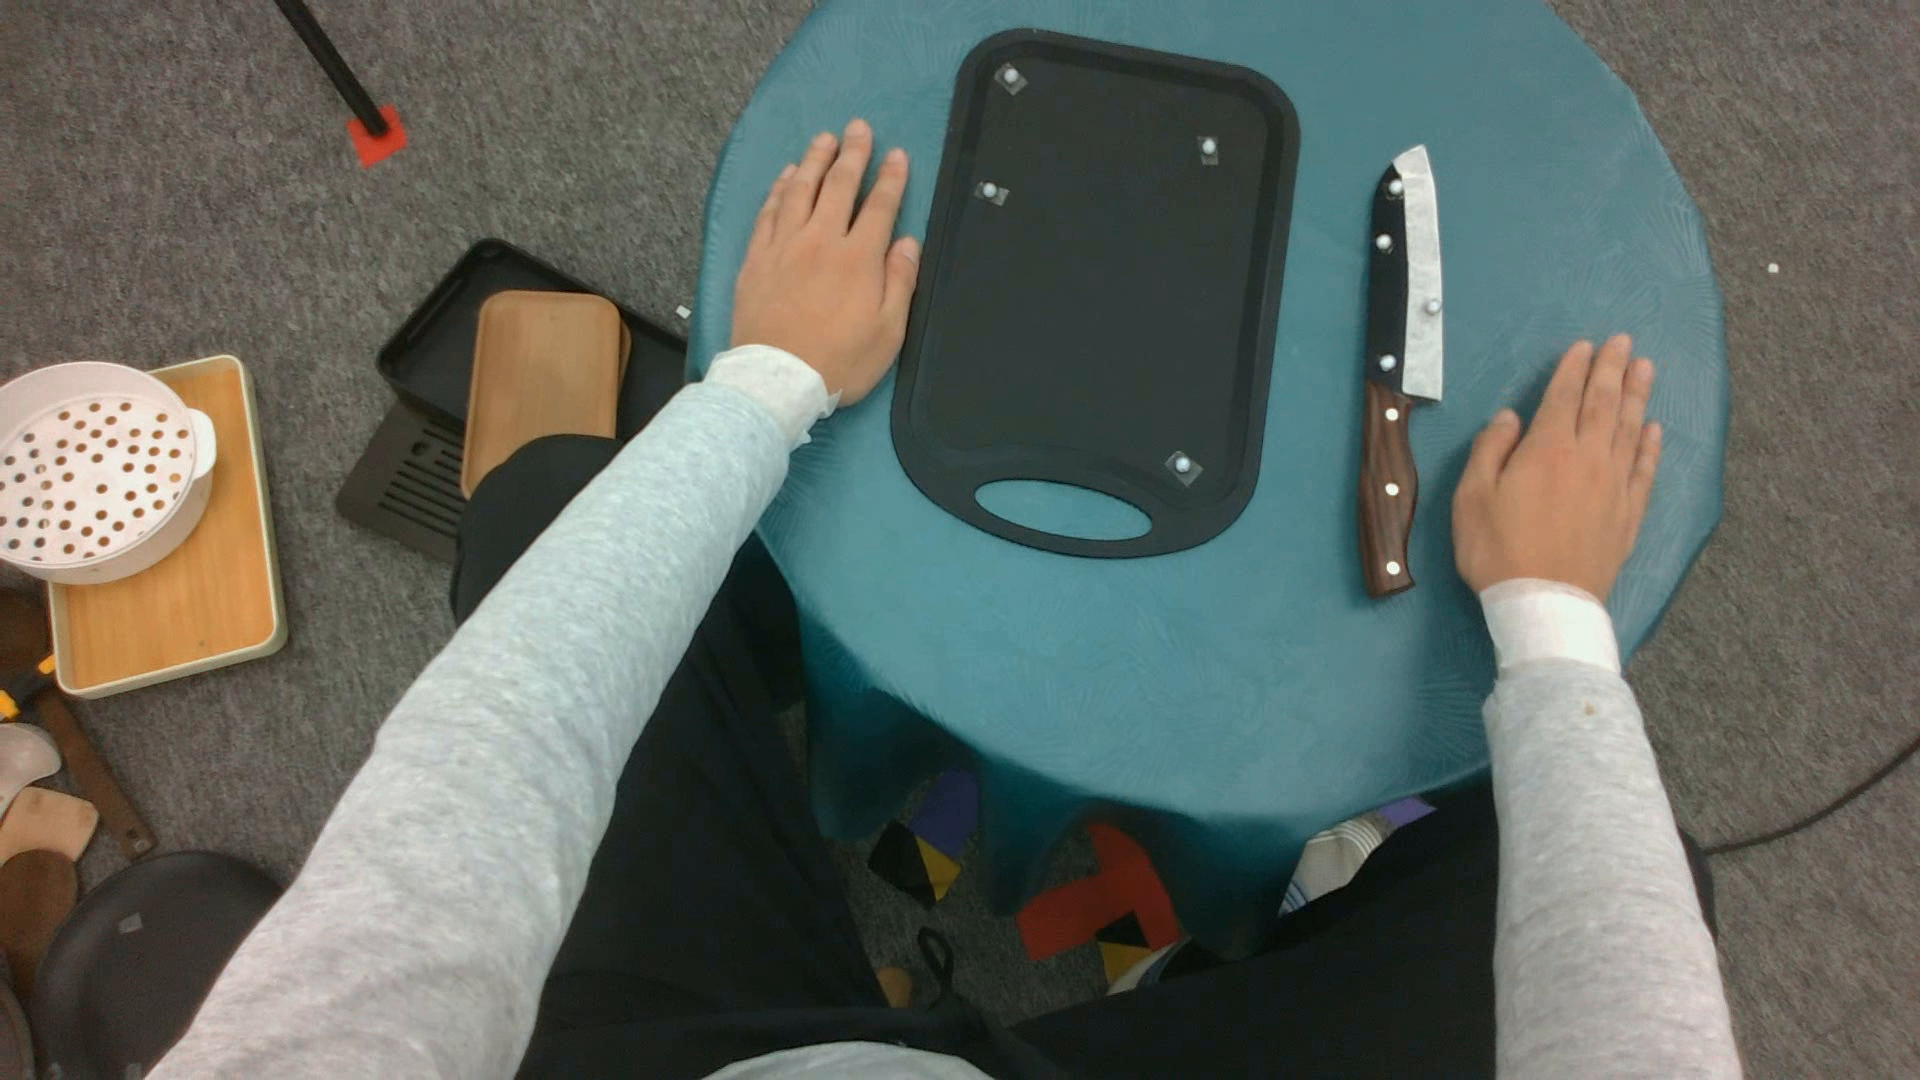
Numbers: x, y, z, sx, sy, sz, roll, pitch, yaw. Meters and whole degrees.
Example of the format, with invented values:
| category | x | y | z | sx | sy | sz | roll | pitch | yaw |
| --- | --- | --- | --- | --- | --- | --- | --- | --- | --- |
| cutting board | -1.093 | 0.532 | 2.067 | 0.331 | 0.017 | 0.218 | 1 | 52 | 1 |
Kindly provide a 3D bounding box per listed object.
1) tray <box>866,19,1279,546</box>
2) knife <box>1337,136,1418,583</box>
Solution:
| category | x | y | z | sx | sy | sz | roll | pitch | yaw |
| --- | --- | --- | --- | --- | --- | --- | --- | --- | --- |
| tray | 0.069 | -0.154 | 0.795 | 0.211 | 0.010 | 0.326 | 11 | 73 | 0 |
| knife | 0.239 | -0.111 | 0.789 | 0.050 | 0.020 | 0.290 | 11 | 70 | -6 |
